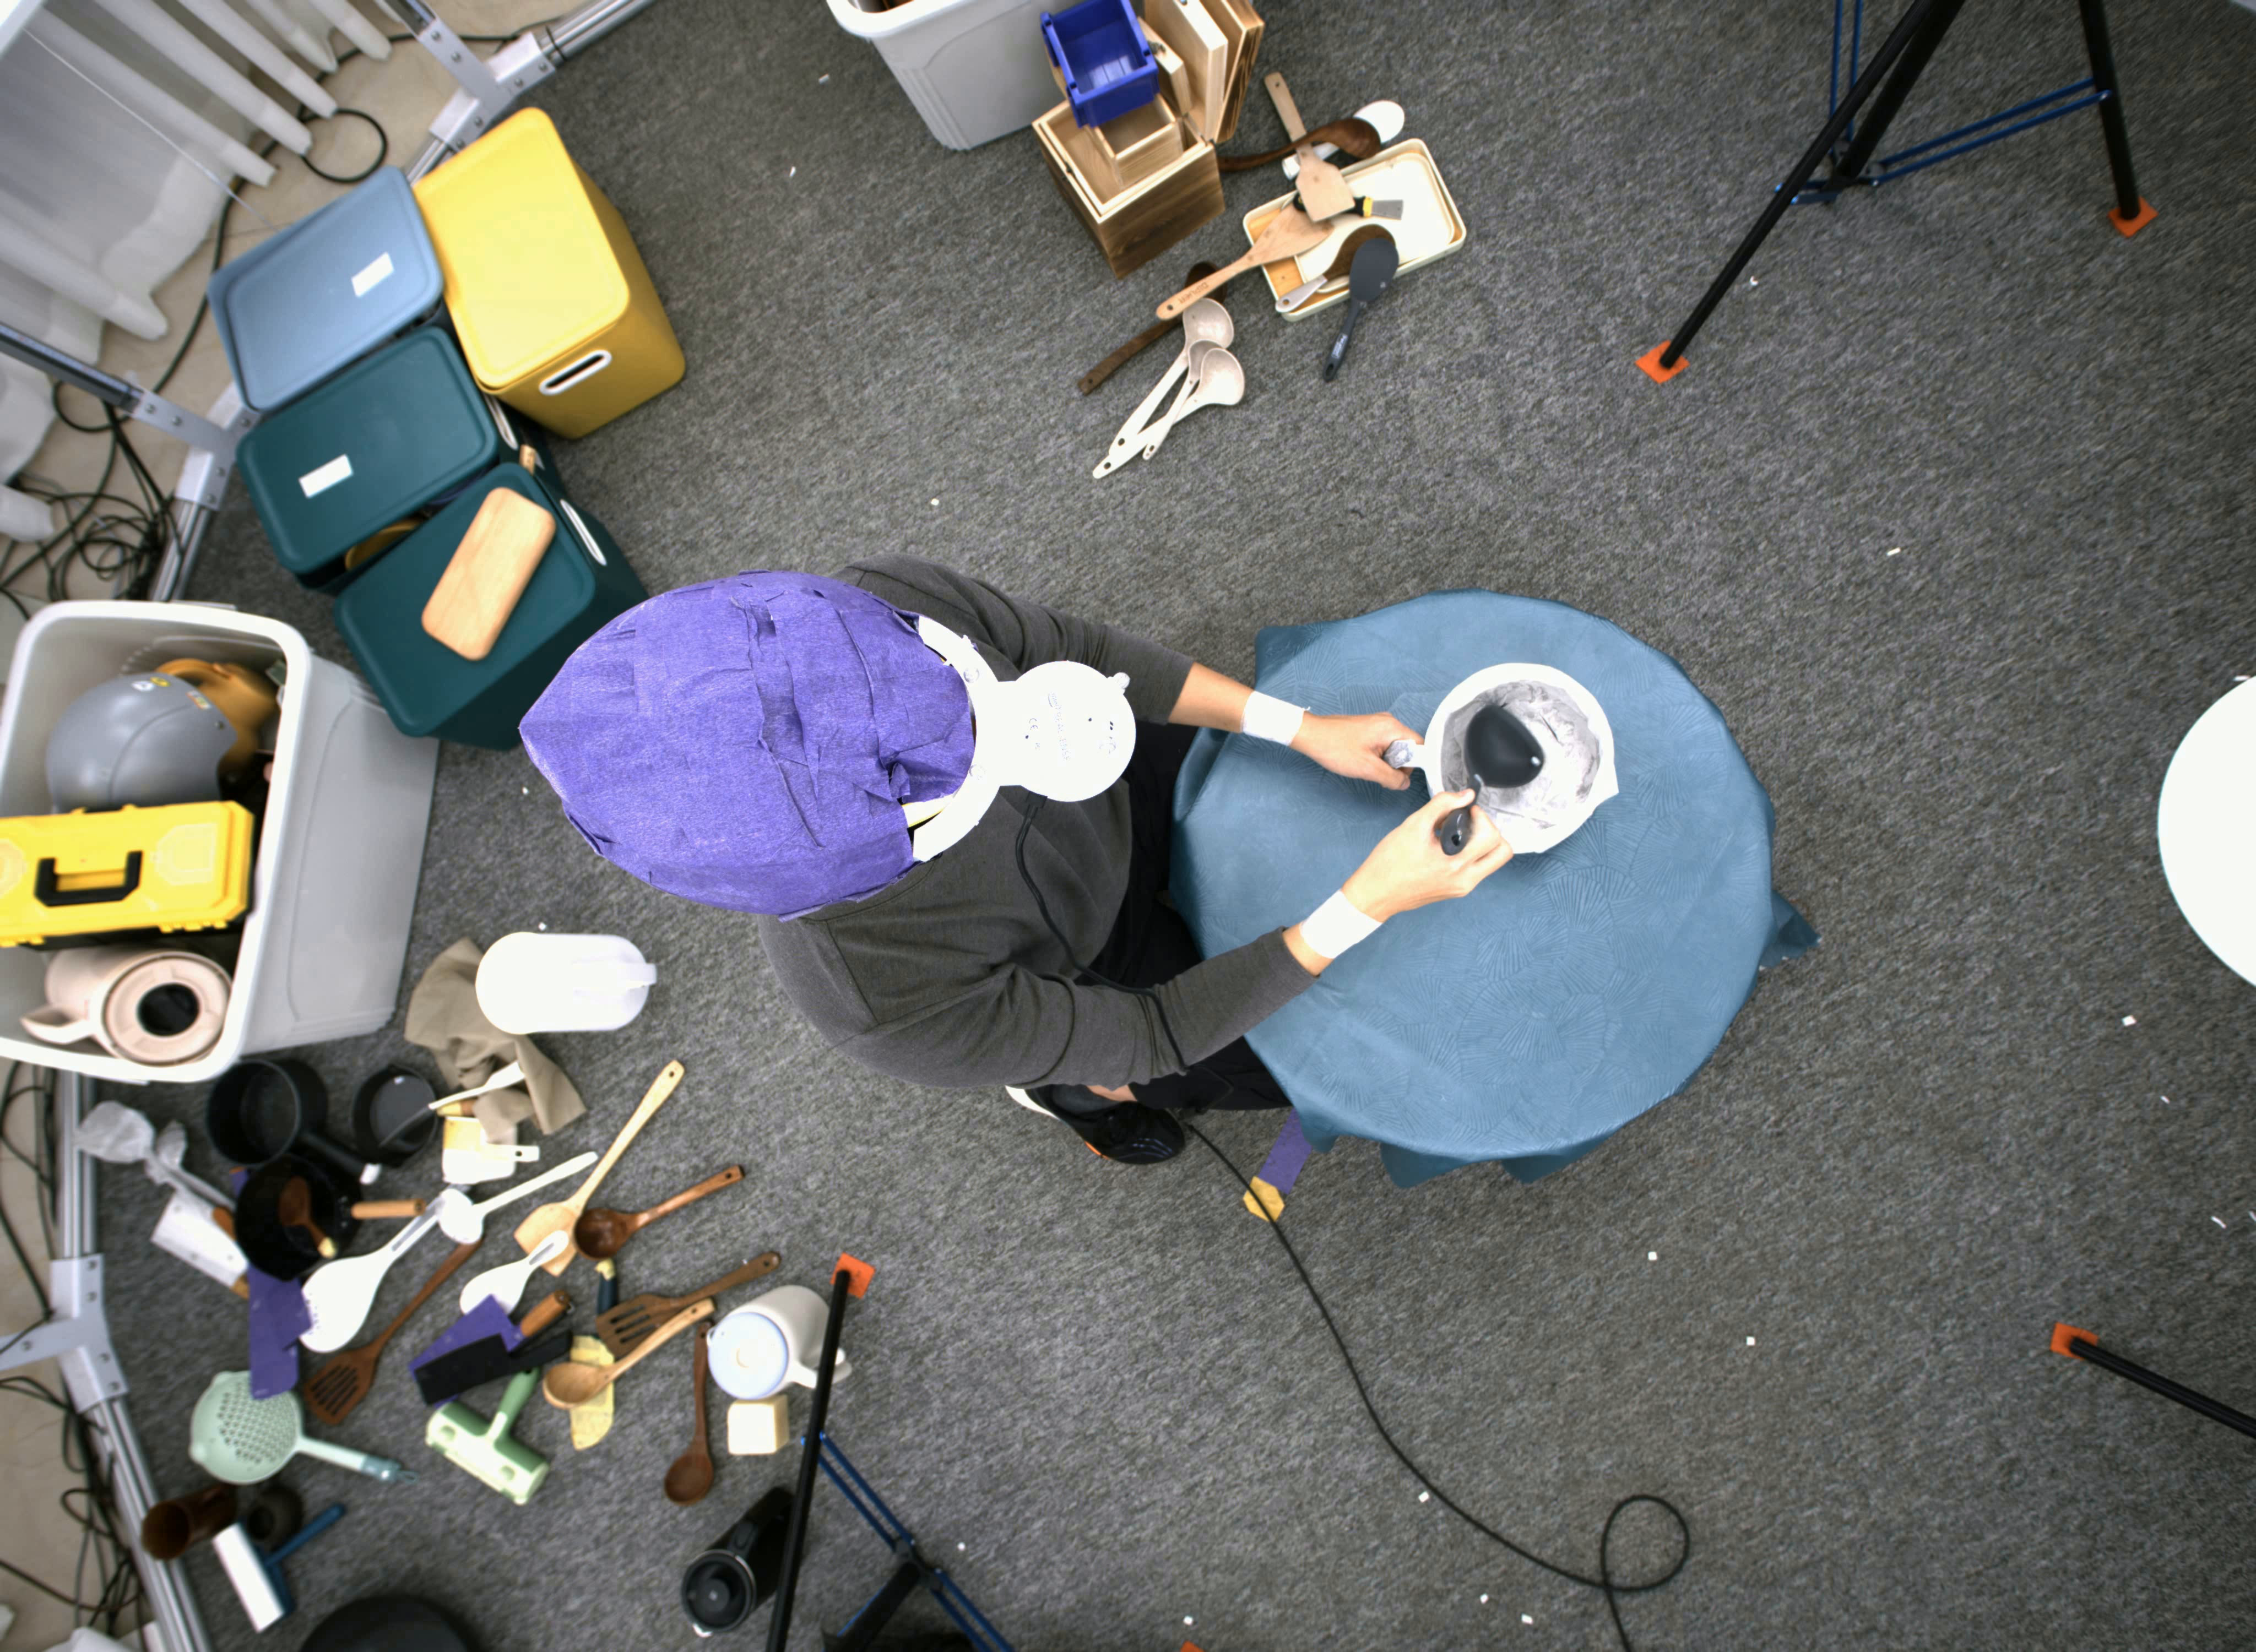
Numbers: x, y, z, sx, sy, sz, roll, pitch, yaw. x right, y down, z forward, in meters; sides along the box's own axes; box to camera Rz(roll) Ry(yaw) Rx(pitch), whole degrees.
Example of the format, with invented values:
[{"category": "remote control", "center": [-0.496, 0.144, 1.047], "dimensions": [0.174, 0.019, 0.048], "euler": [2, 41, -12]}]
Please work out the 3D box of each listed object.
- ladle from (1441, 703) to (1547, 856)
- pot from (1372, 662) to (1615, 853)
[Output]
[{"category": "ladle", "center": [0.326, -0.042, 1.238], "dimensions": [0.086, 0.308, 0.065], "euler": [43, 116, 3]}, {"category": "pot", "center": [0.361, -0.066, 1.379], "dimensions": [0.235, 0.136, 0.178], "euler": [1, 86, 14]}]
